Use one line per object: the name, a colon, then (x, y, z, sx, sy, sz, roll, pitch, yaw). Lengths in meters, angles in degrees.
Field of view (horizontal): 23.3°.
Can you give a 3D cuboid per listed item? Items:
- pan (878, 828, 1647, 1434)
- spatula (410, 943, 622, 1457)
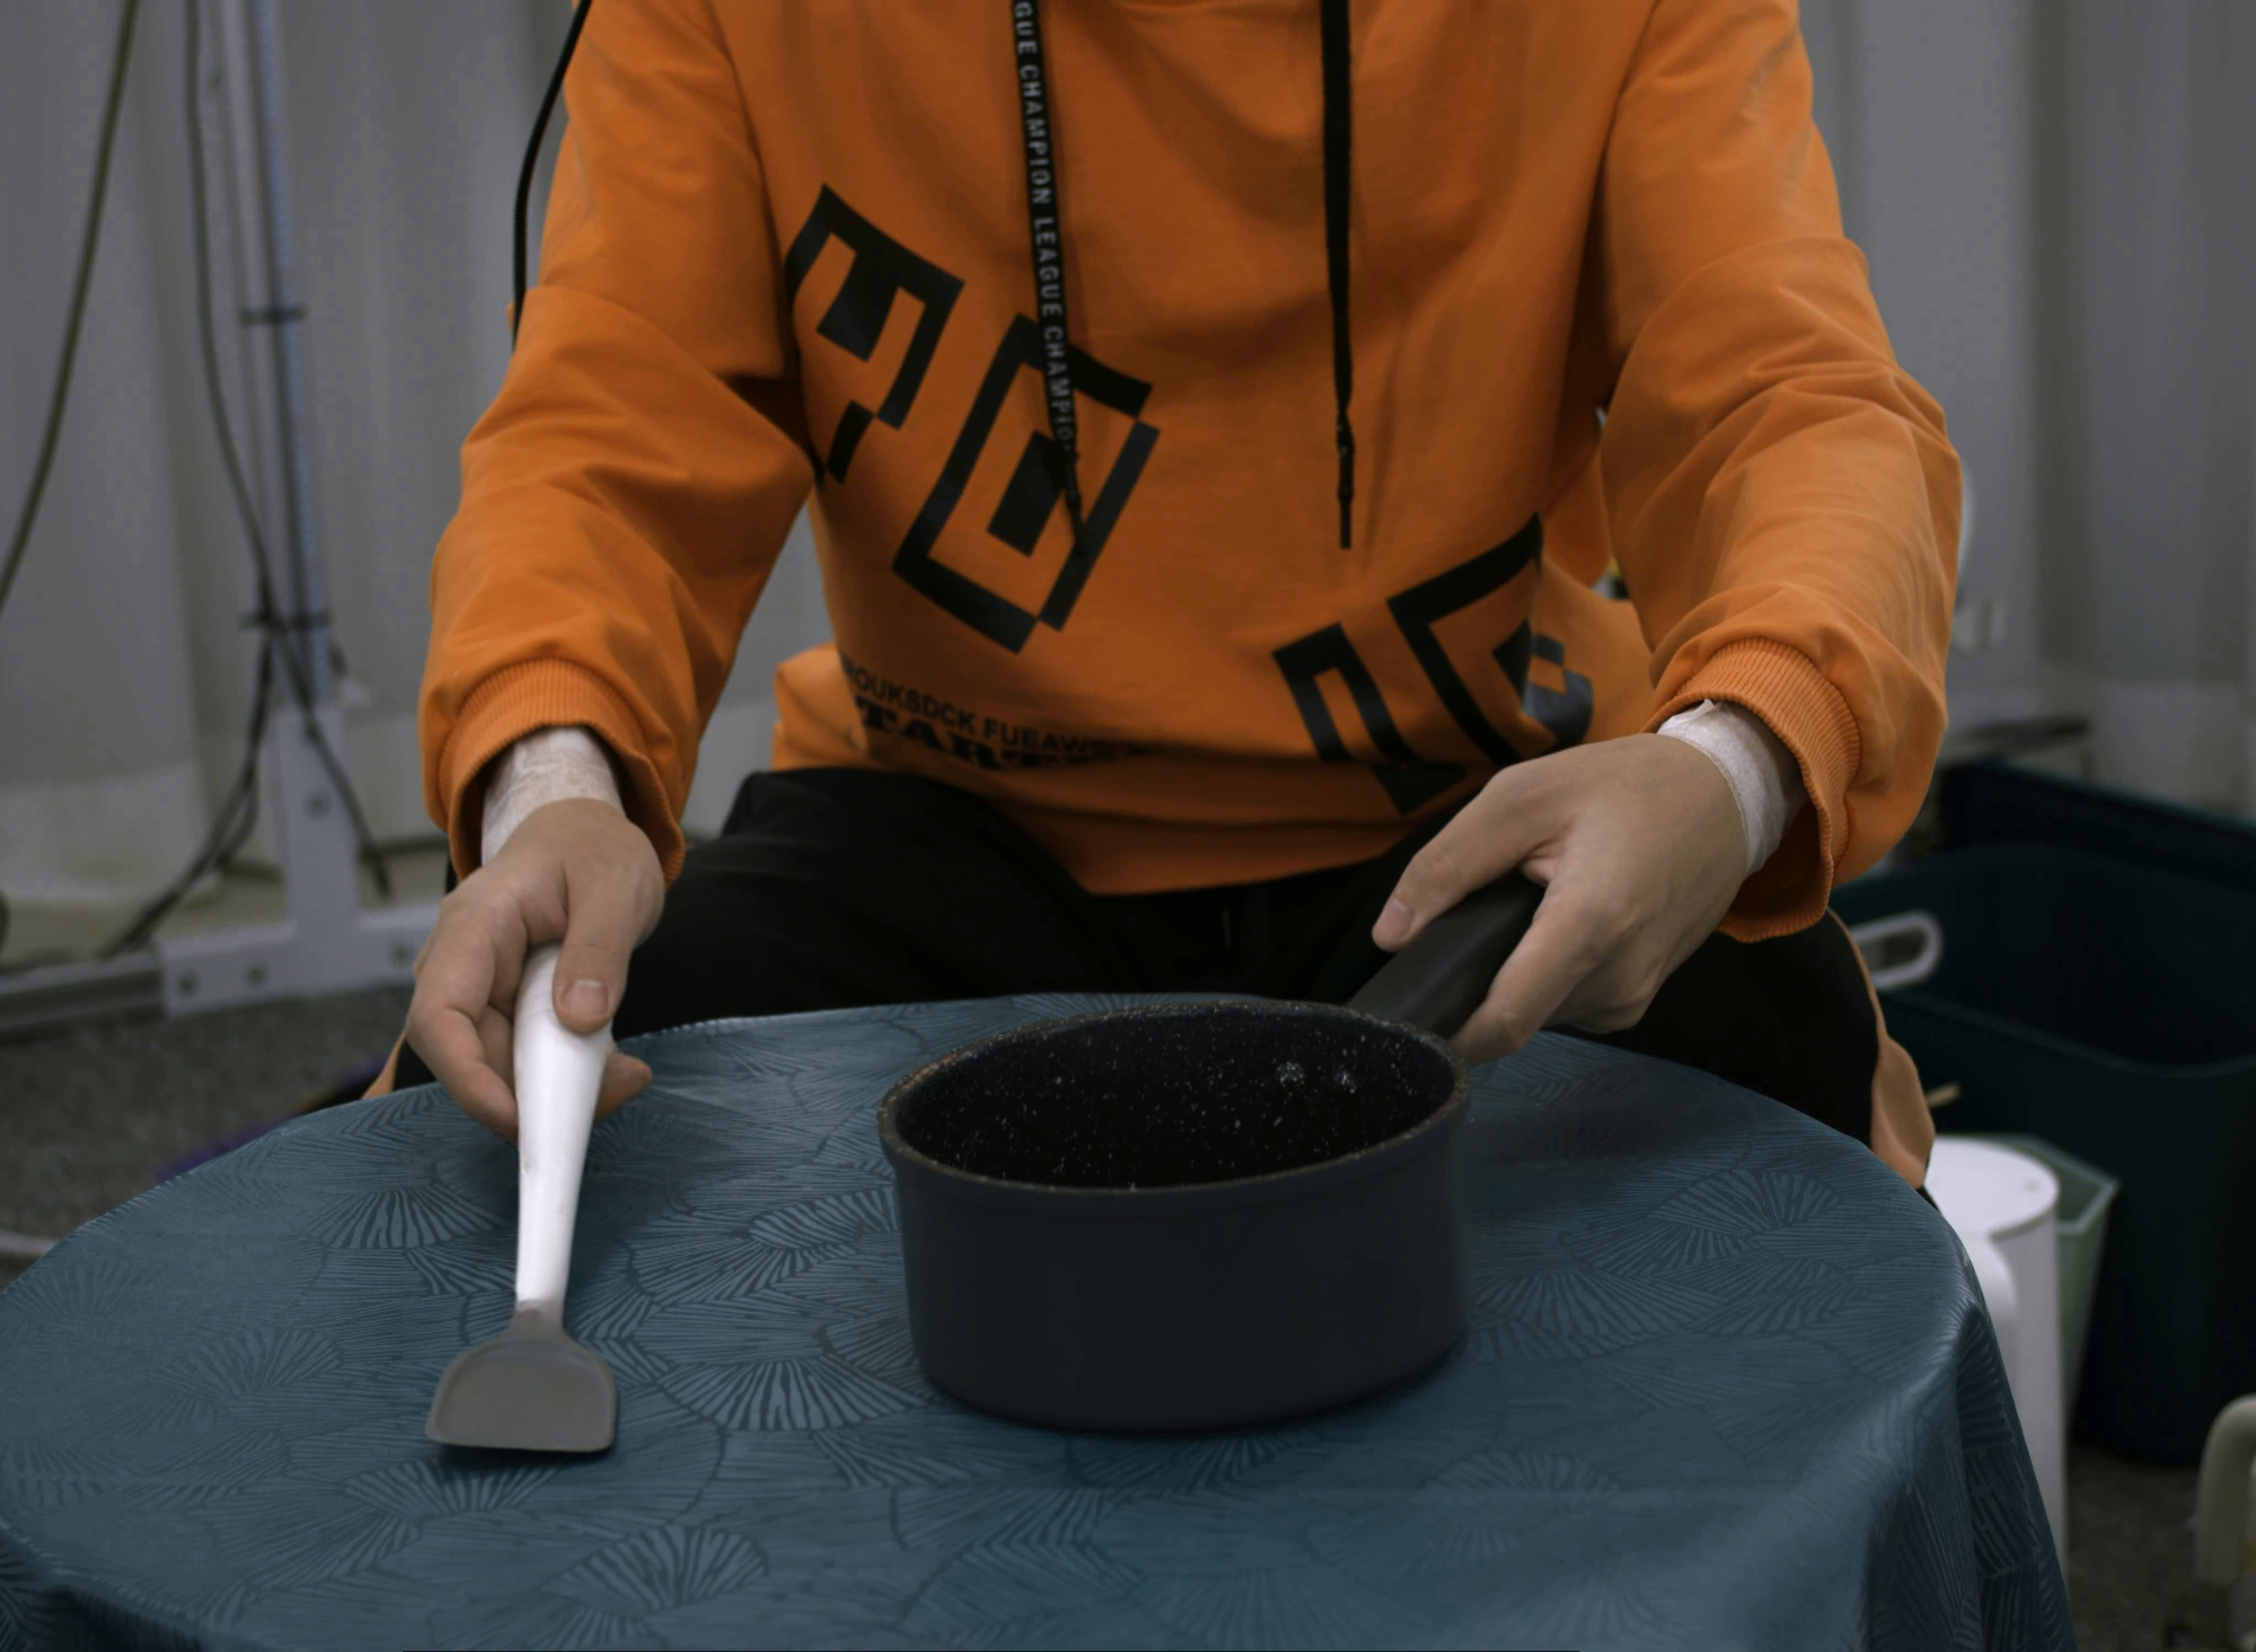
pan: (0.061, 0.087, 1.633, 0.172, 0.086, 0.329, 8, 21, 34)
spatula: (-0.177, 0.116, 1.639, 0.058, 0.032, 0.291, 8, 26, -7)
